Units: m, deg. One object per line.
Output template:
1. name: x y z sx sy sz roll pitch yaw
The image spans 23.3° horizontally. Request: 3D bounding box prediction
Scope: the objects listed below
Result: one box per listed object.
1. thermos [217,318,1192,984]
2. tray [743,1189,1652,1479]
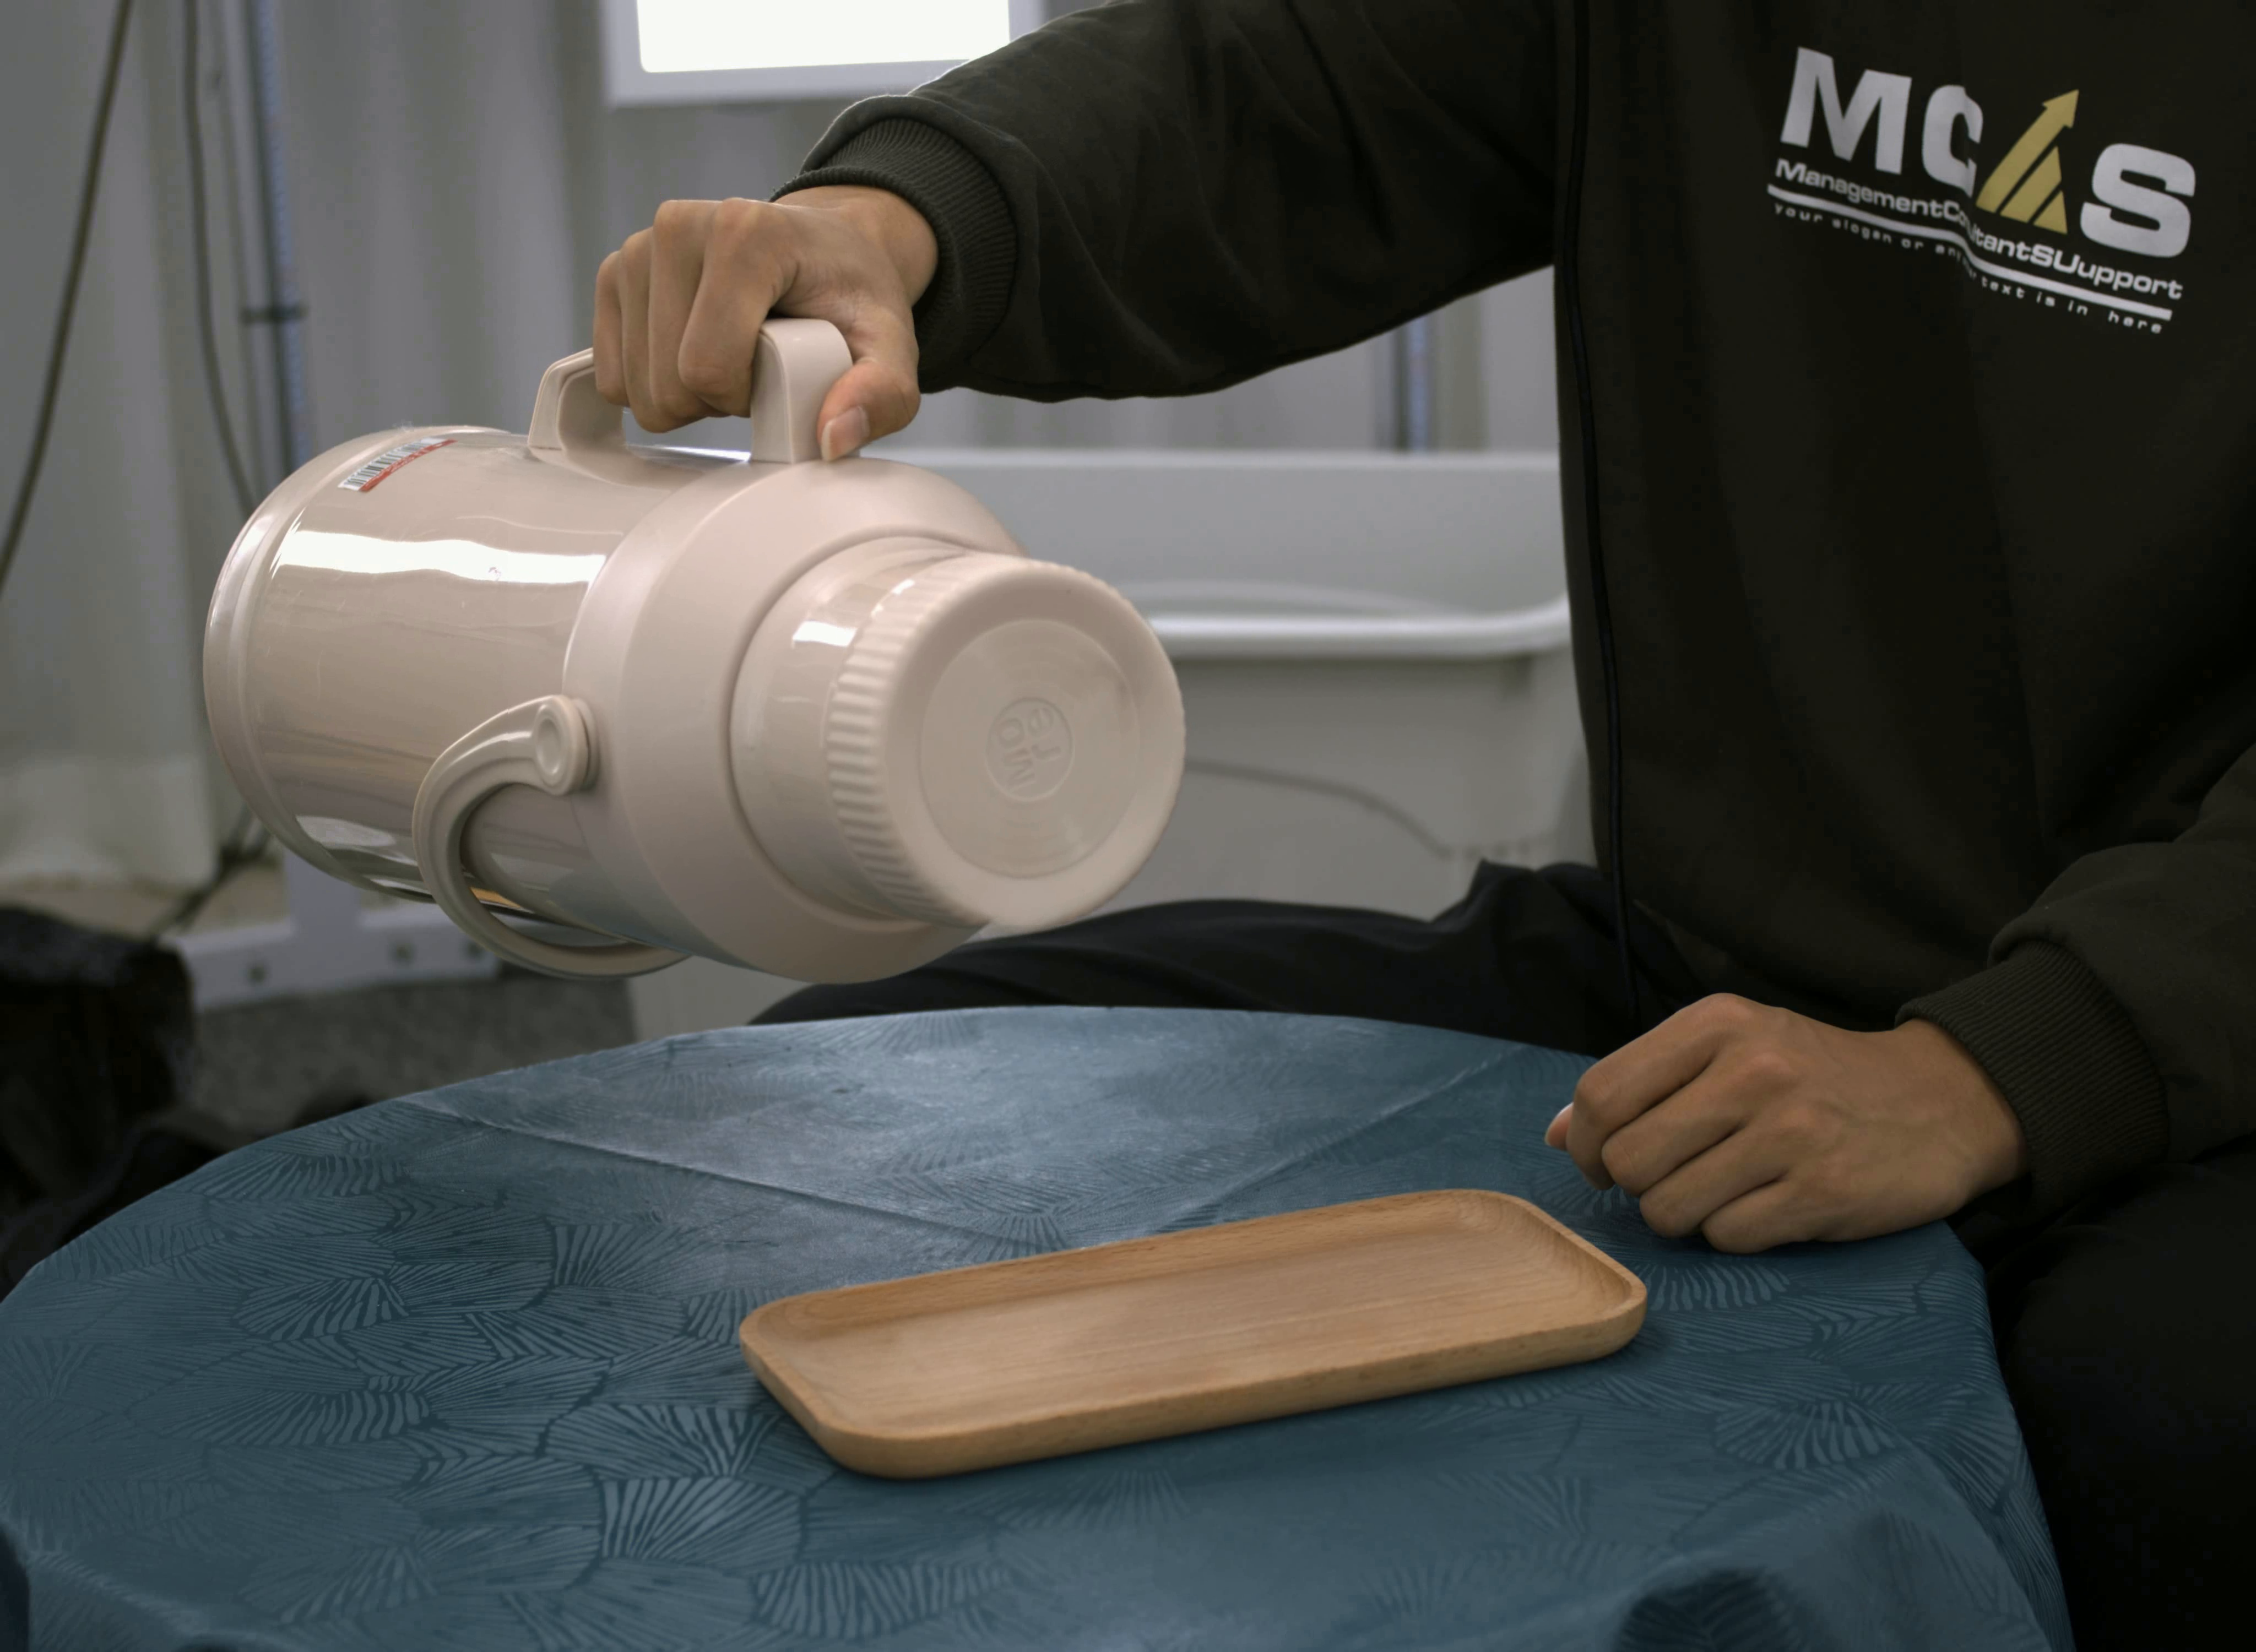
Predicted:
1. thermos: -0.131 -0.053 1.691 0.174 0.207 0.408 -8 8 -31
2. tray: 0.020 0.145 1.572 0.249 0.023 0.132 -7 18 -18
